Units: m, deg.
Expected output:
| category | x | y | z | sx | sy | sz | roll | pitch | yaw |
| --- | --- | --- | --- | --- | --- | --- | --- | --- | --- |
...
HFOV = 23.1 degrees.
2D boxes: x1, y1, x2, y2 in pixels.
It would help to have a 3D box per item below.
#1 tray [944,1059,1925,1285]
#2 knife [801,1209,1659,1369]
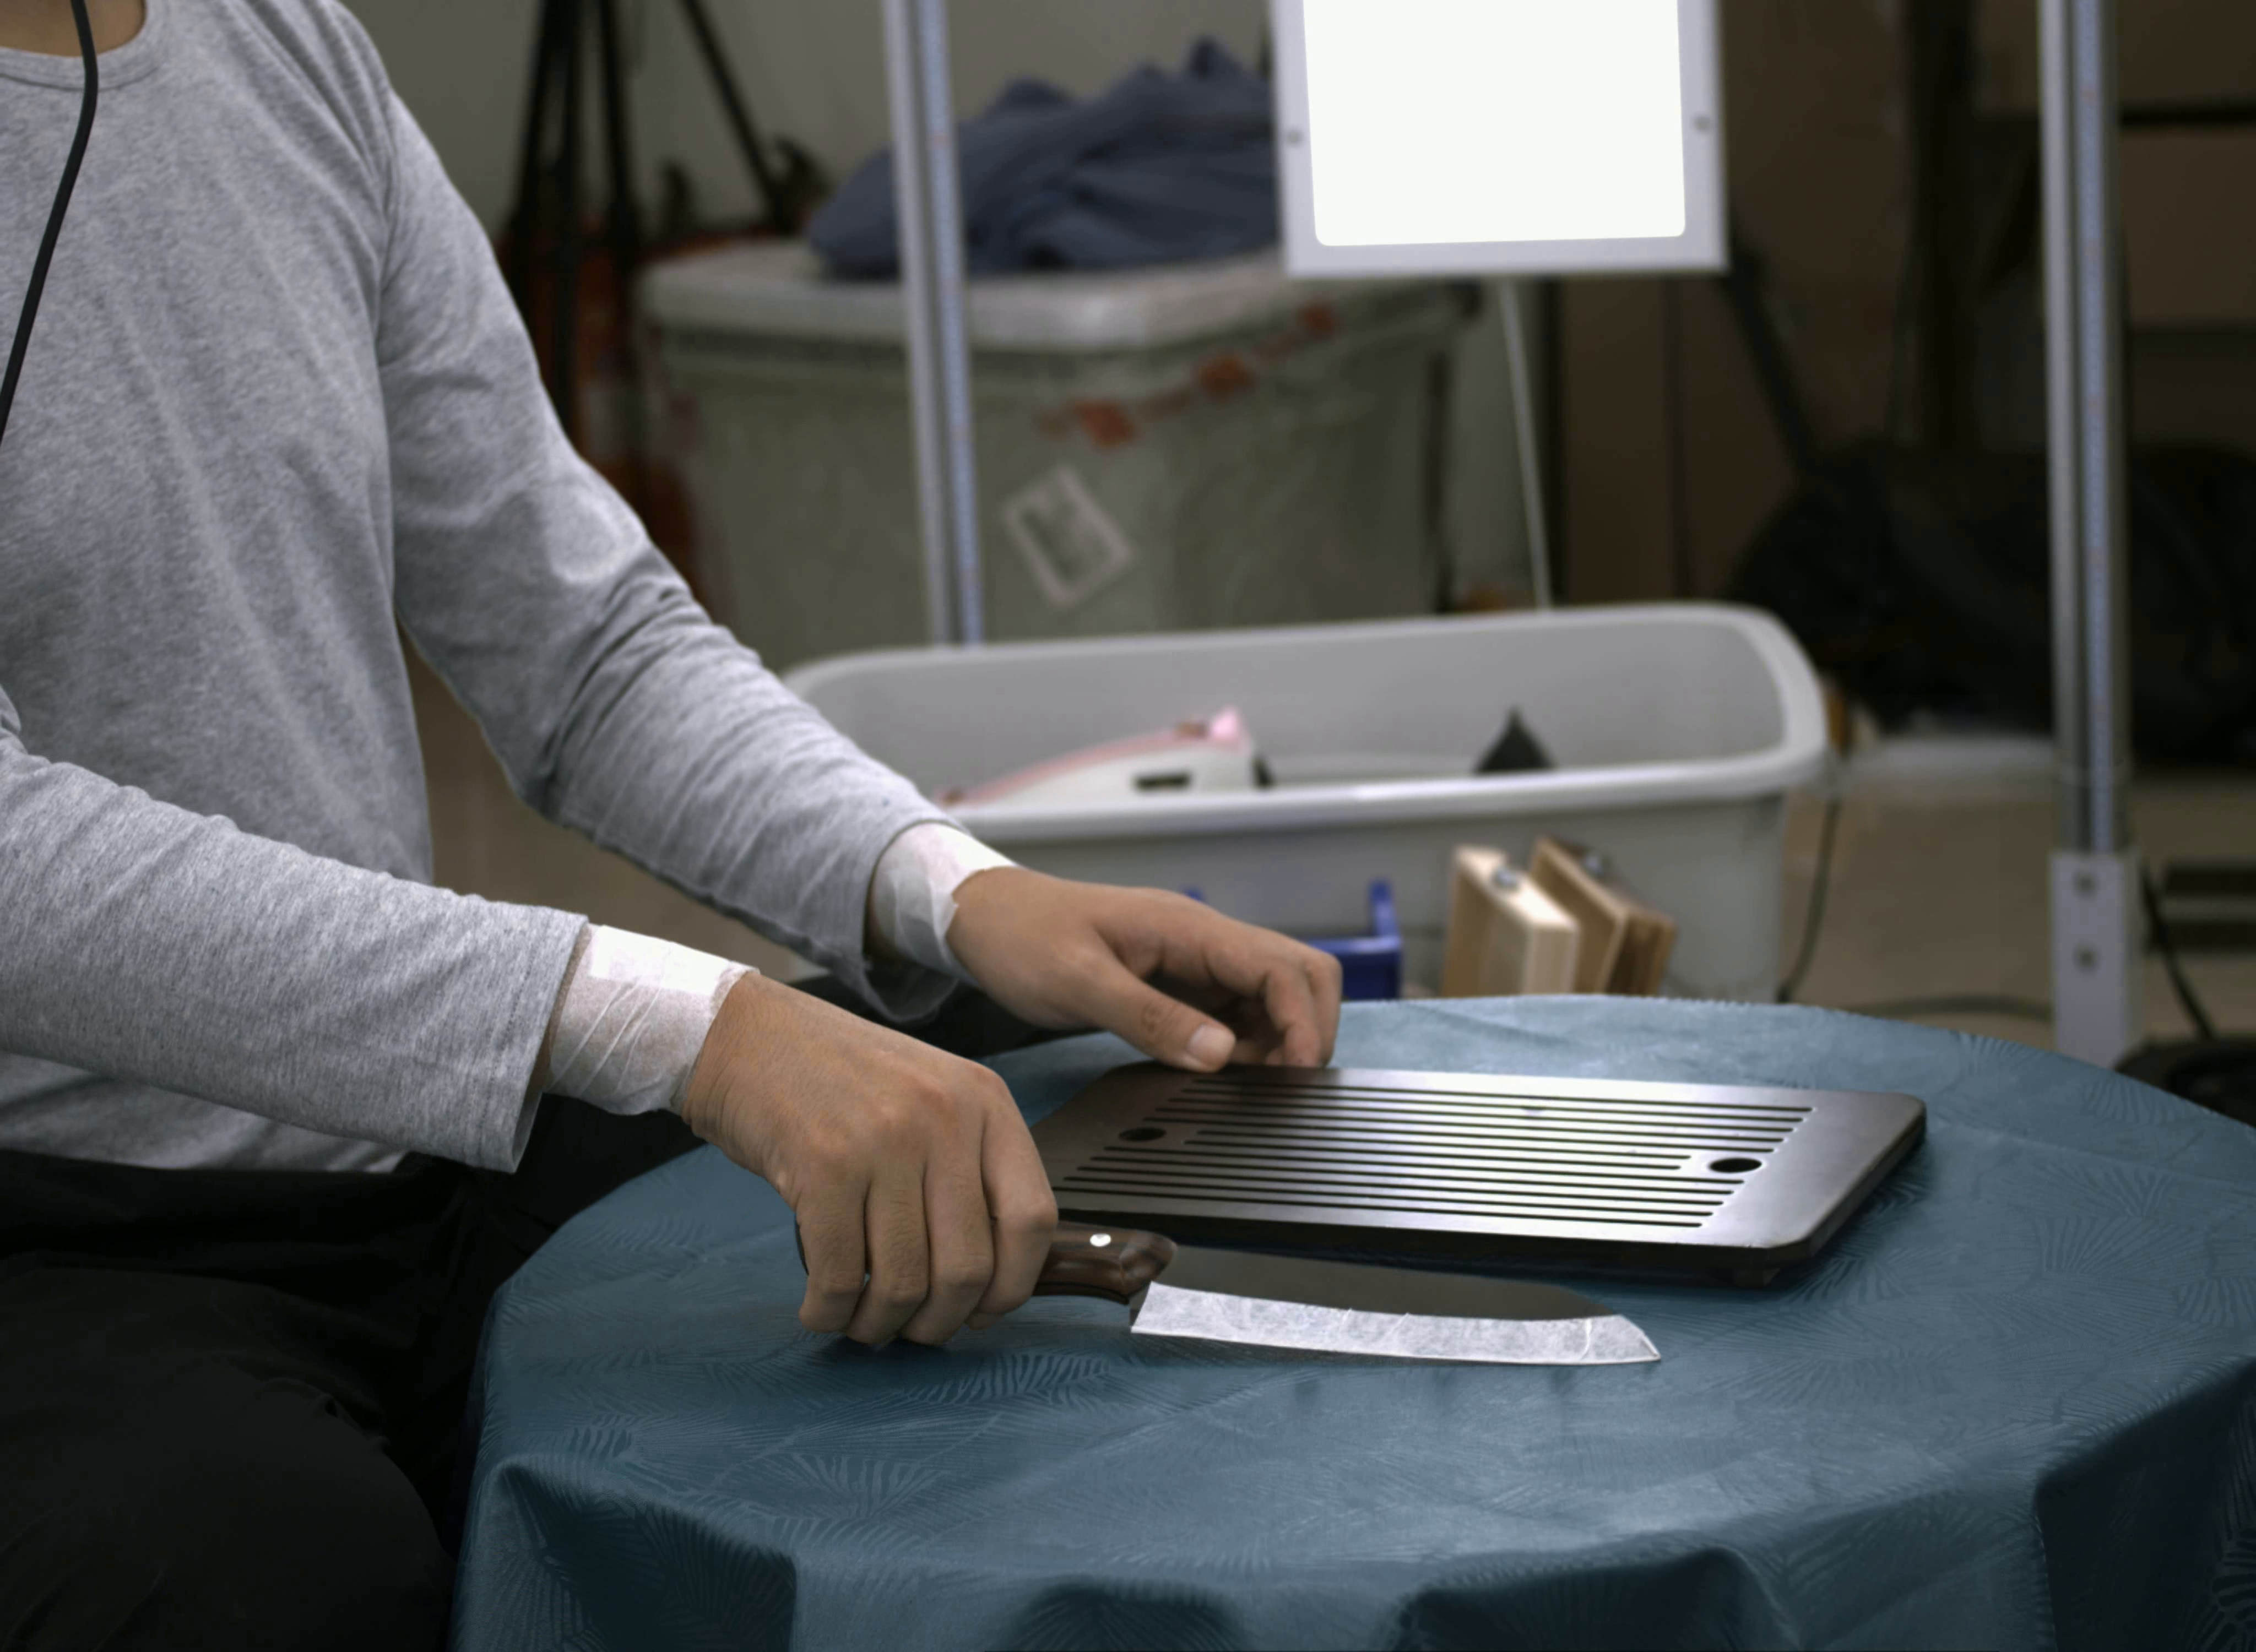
| category | x | y | z | sx | sy | sz | roll | pitch | yaw |
| --- | --- | --- | --- | --- | --- | --- | --- | --- | --- |
| tray | 0.106 | 0.116 | 1.871 | 0.311 | 0.019 | 0.166 | 1 | 15 | 26 |
| knife | 0.028 | 0.148 | 1.741 | 0.293 | 0.020 | 0.049 | 6 | 35 | 20 |
